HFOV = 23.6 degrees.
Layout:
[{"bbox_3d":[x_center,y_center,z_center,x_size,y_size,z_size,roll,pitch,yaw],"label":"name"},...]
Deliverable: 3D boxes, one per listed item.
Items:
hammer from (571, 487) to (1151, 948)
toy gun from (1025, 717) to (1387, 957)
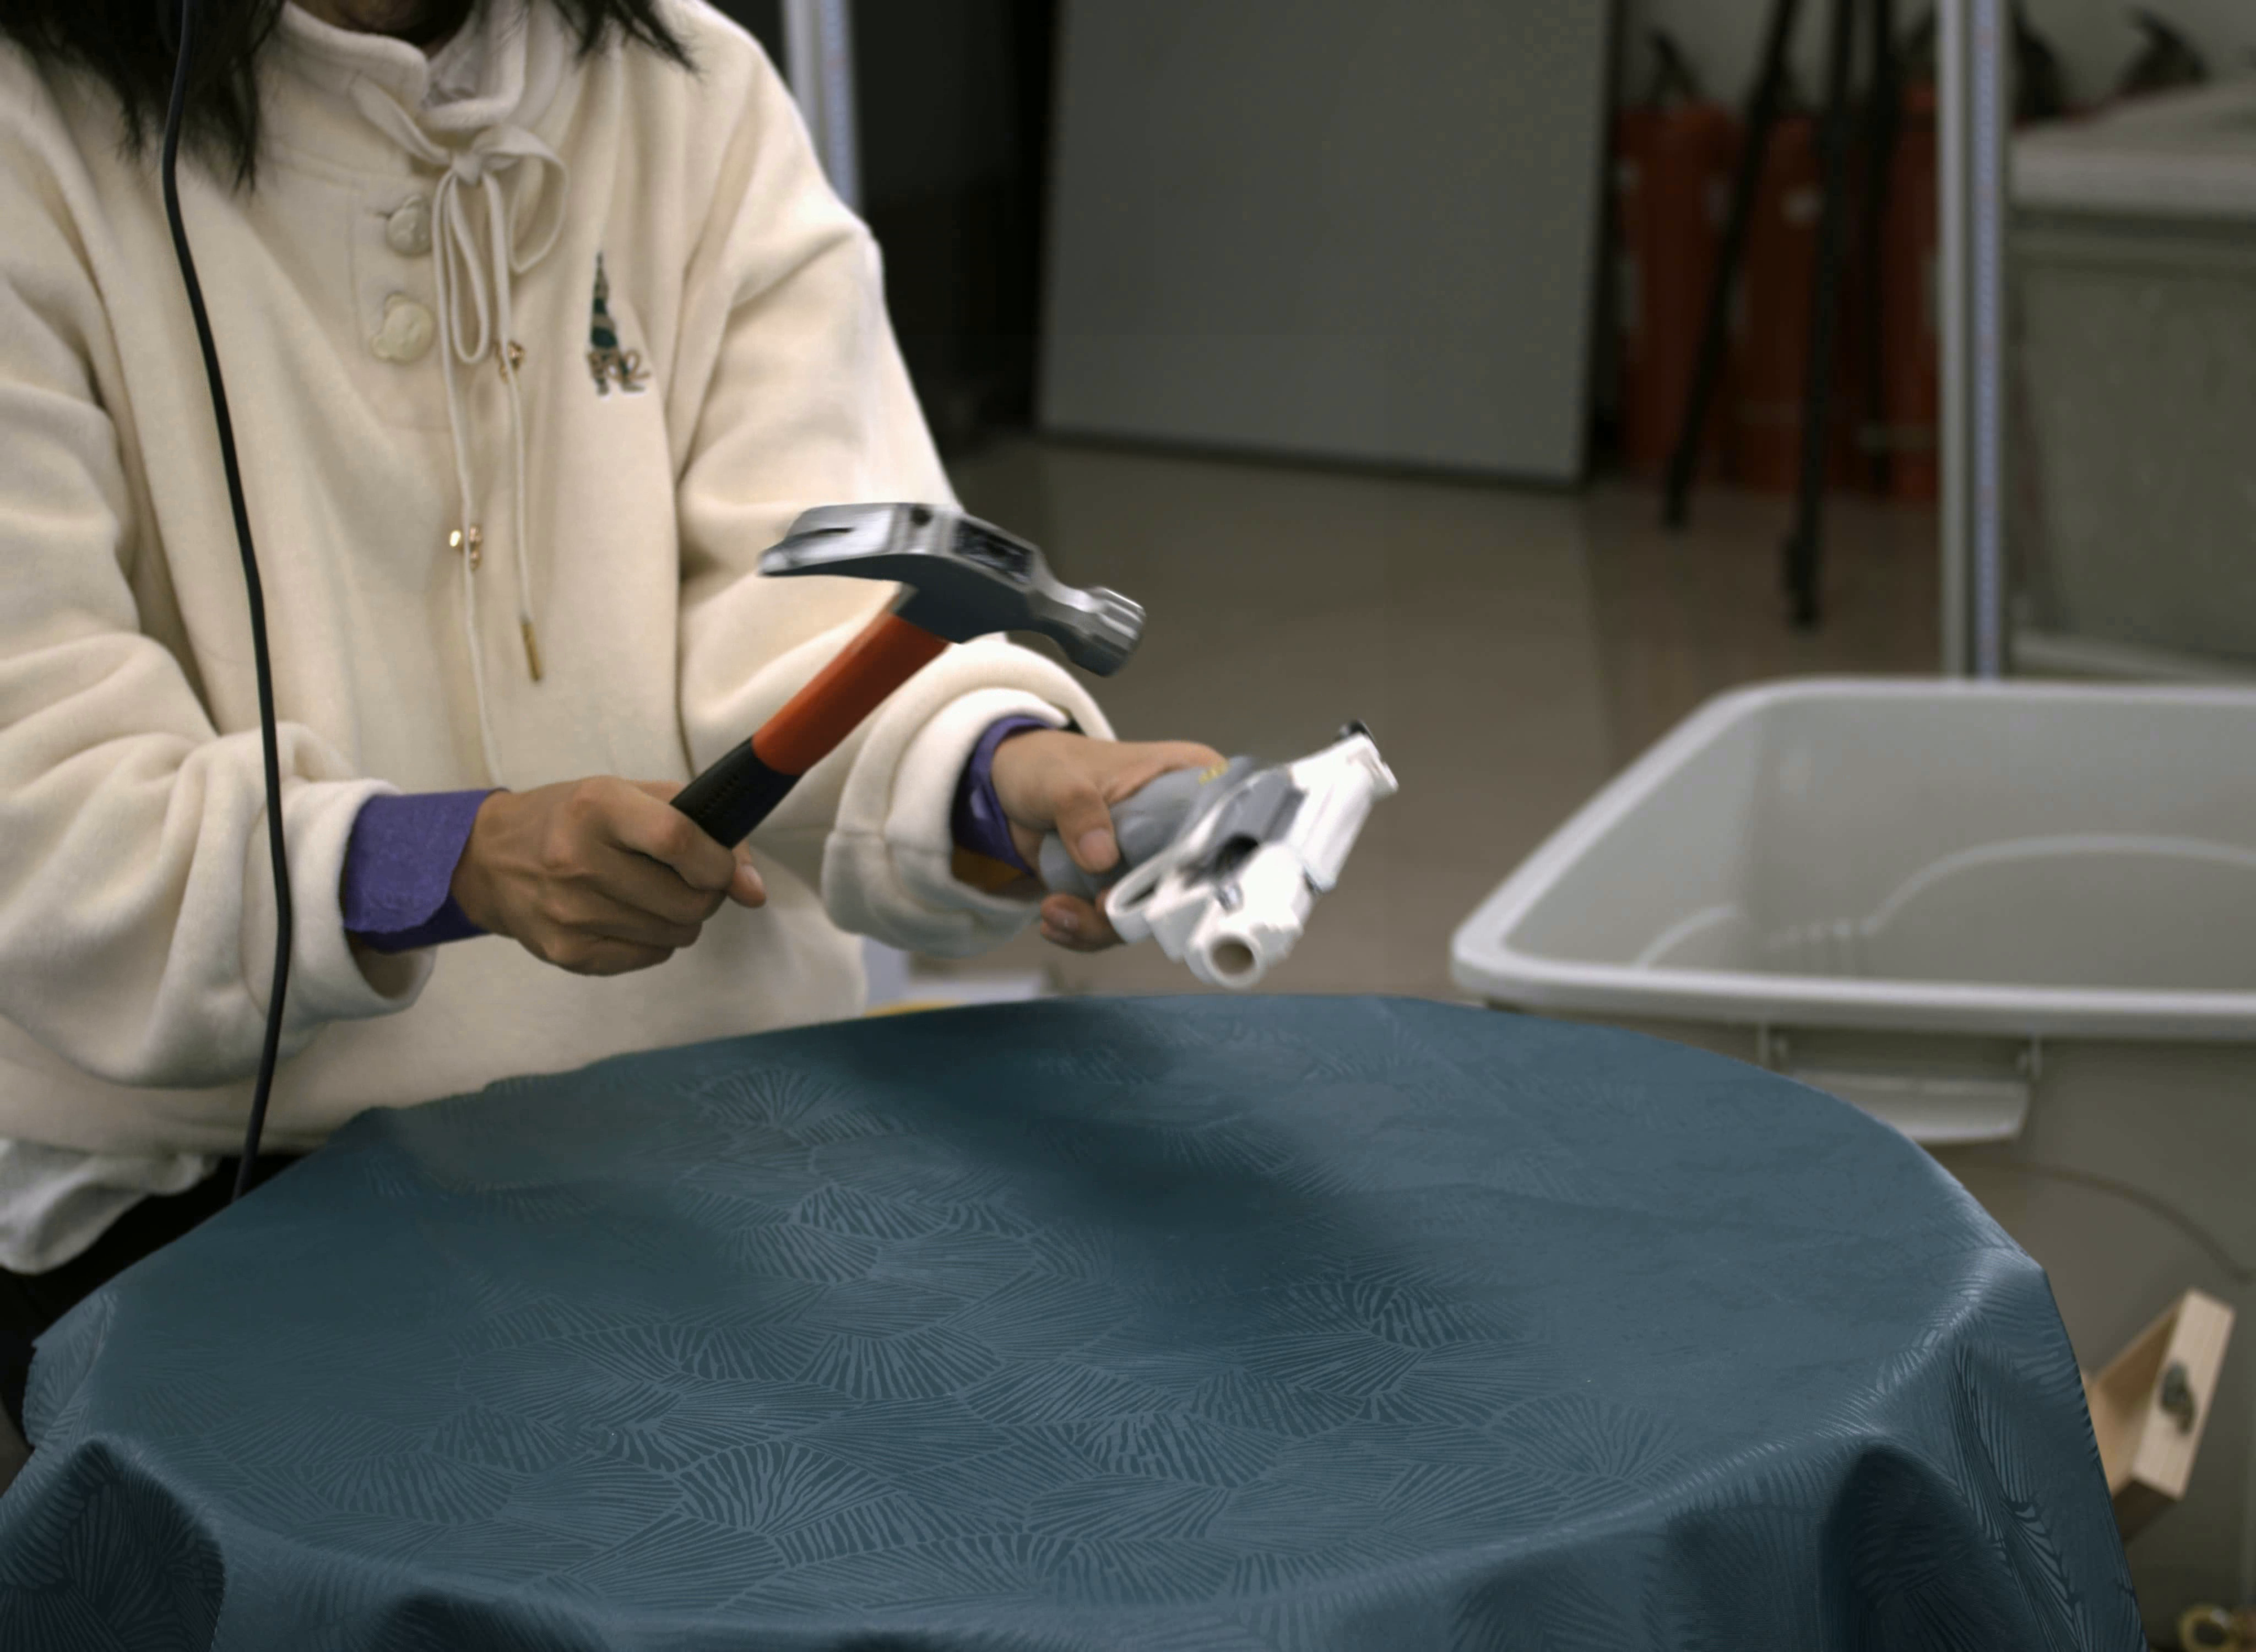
[{"bbox_3d":[-0.107,-0.030,1.722,0.108,0.026,0.280,19,-35,-24],"label":"hammer"},{"bbox_3d":[0.015,0.012,1.716,0.142,0.039,0.208,-27,13,22],"label":"toy gun"}]
